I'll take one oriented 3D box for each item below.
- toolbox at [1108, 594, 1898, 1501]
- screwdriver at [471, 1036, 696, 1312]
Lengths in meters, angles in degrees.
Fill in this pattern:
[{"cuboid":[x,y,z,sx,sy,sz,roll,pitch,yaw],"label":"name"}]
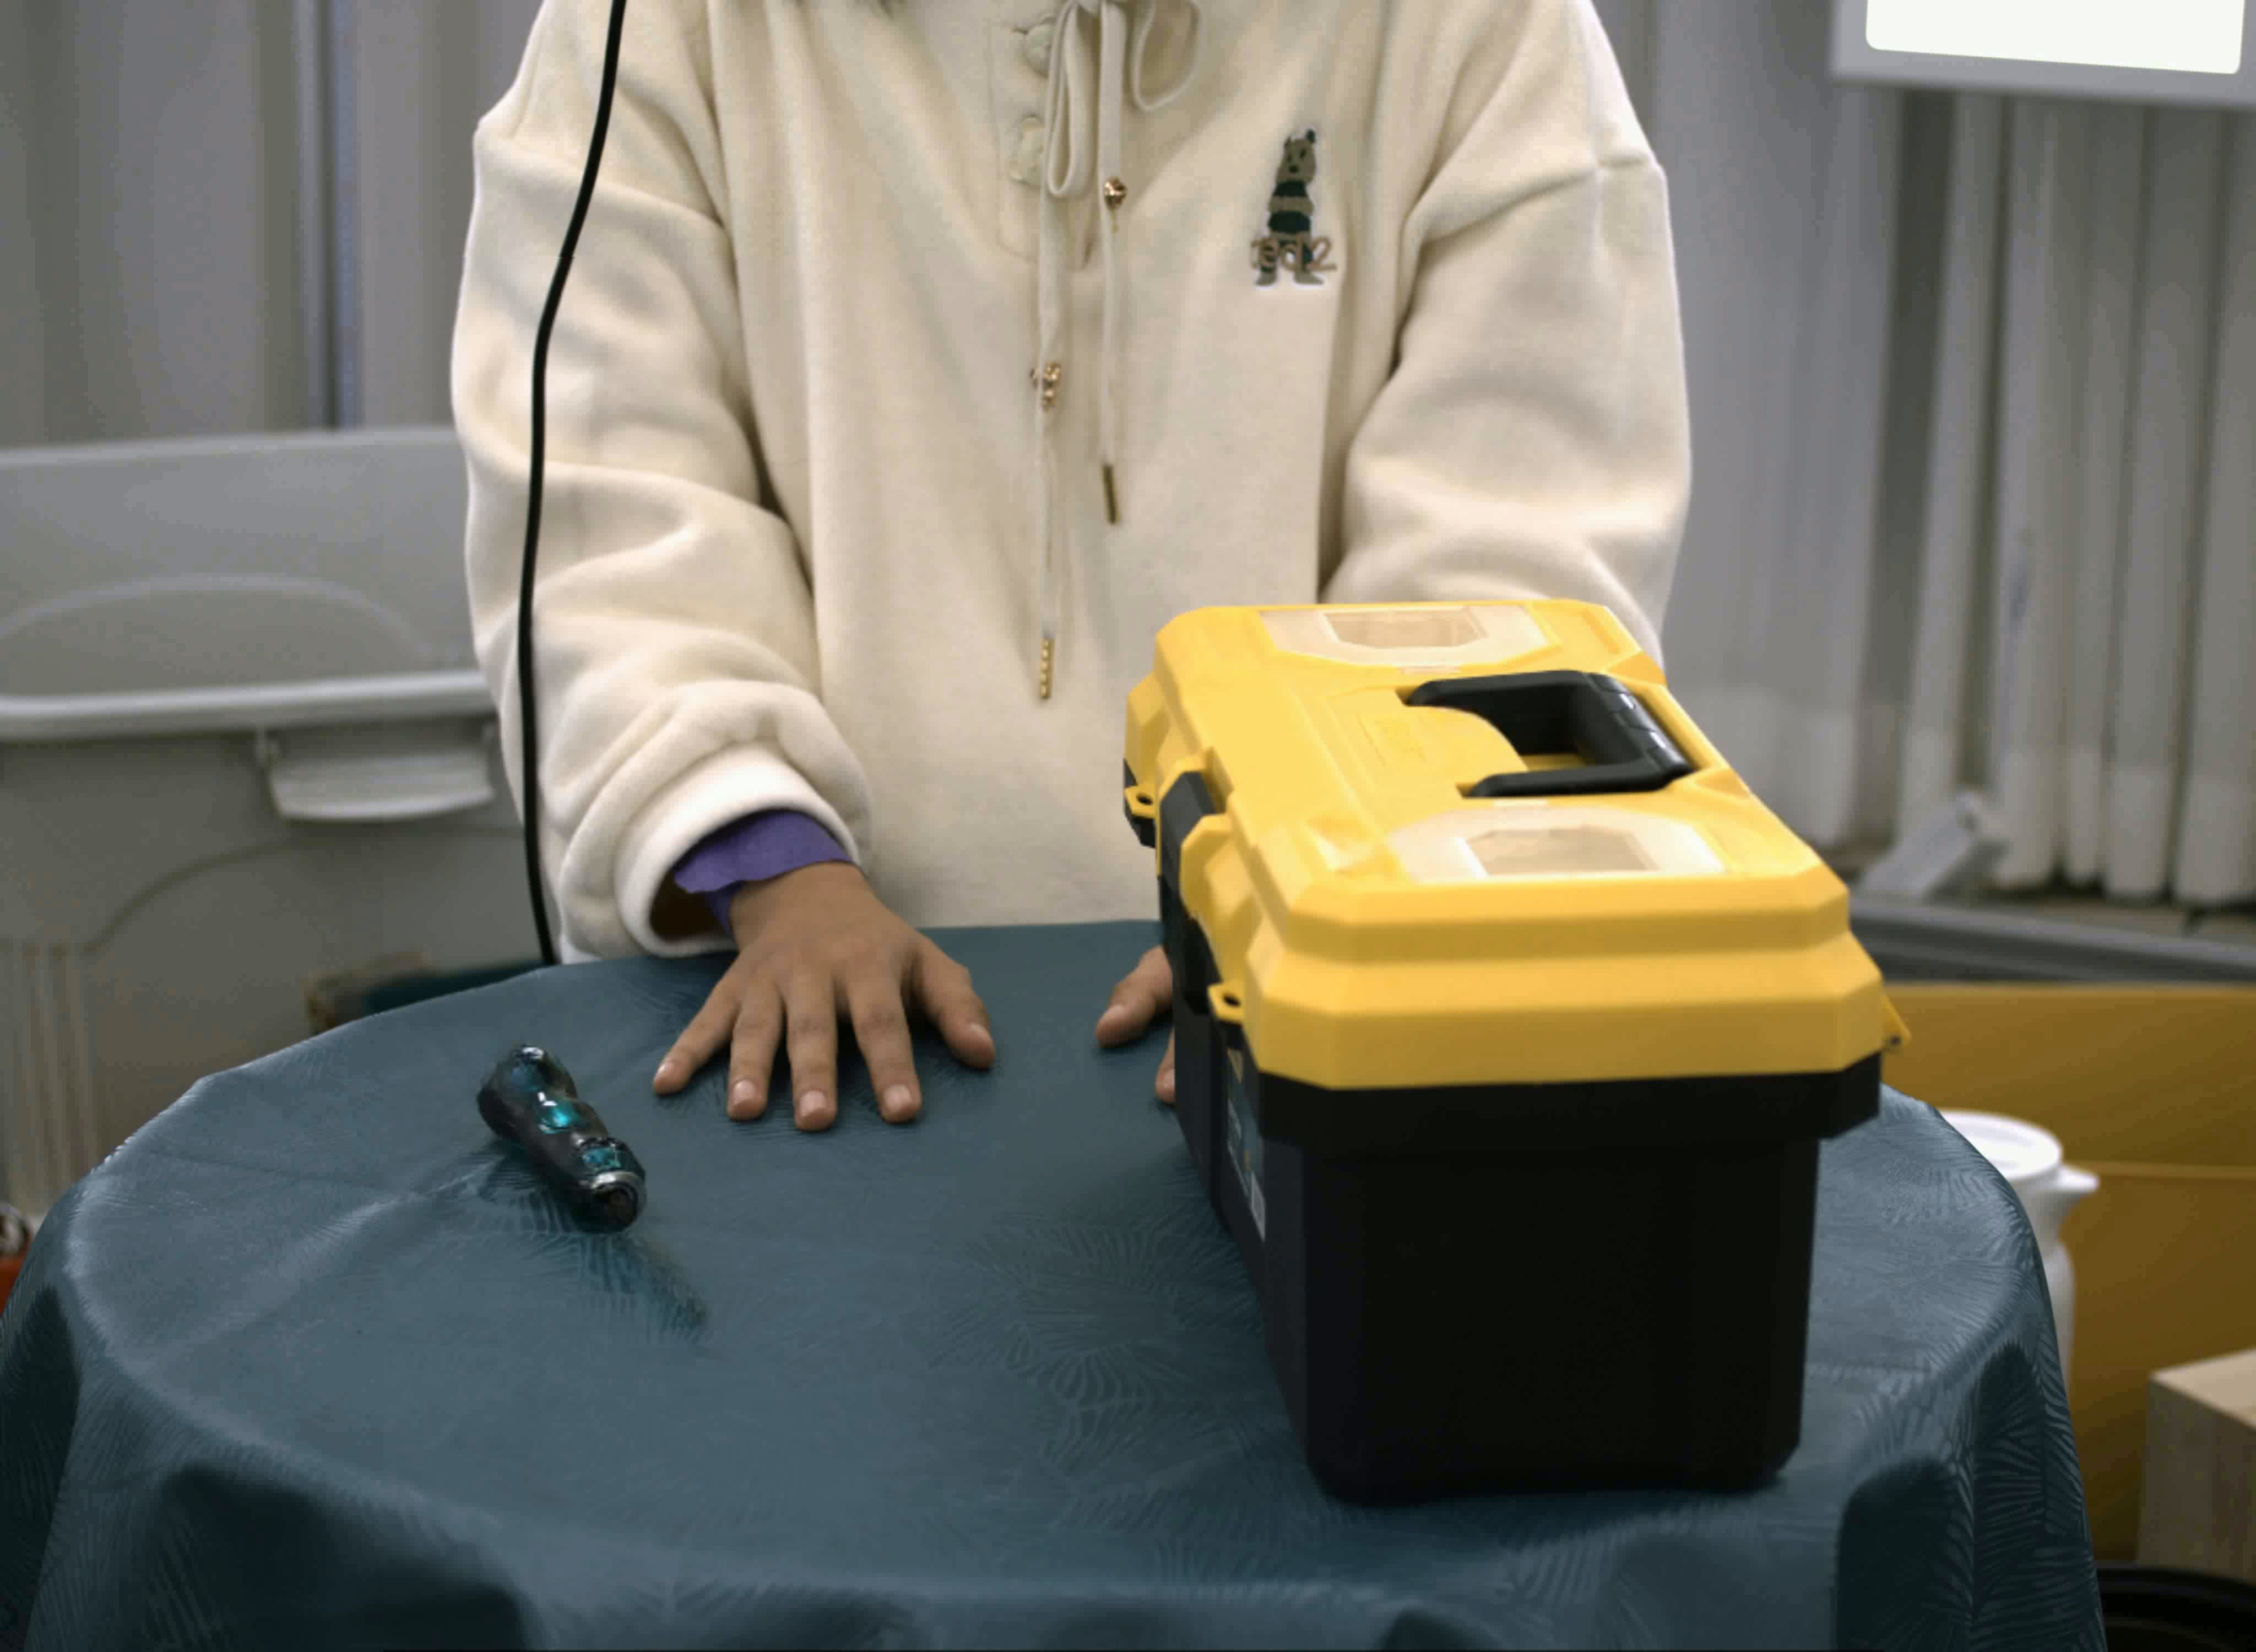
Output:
[{"cuboid":[0.098,0.053,1.510,0.181,0.174,0.349,-1,16,-6],"label":"toolbox"},{"cuboid":[-0.162,0.108,1.591,0.034,0.034,0.187,-6,22,-22],"label":"screwdriver"}]
